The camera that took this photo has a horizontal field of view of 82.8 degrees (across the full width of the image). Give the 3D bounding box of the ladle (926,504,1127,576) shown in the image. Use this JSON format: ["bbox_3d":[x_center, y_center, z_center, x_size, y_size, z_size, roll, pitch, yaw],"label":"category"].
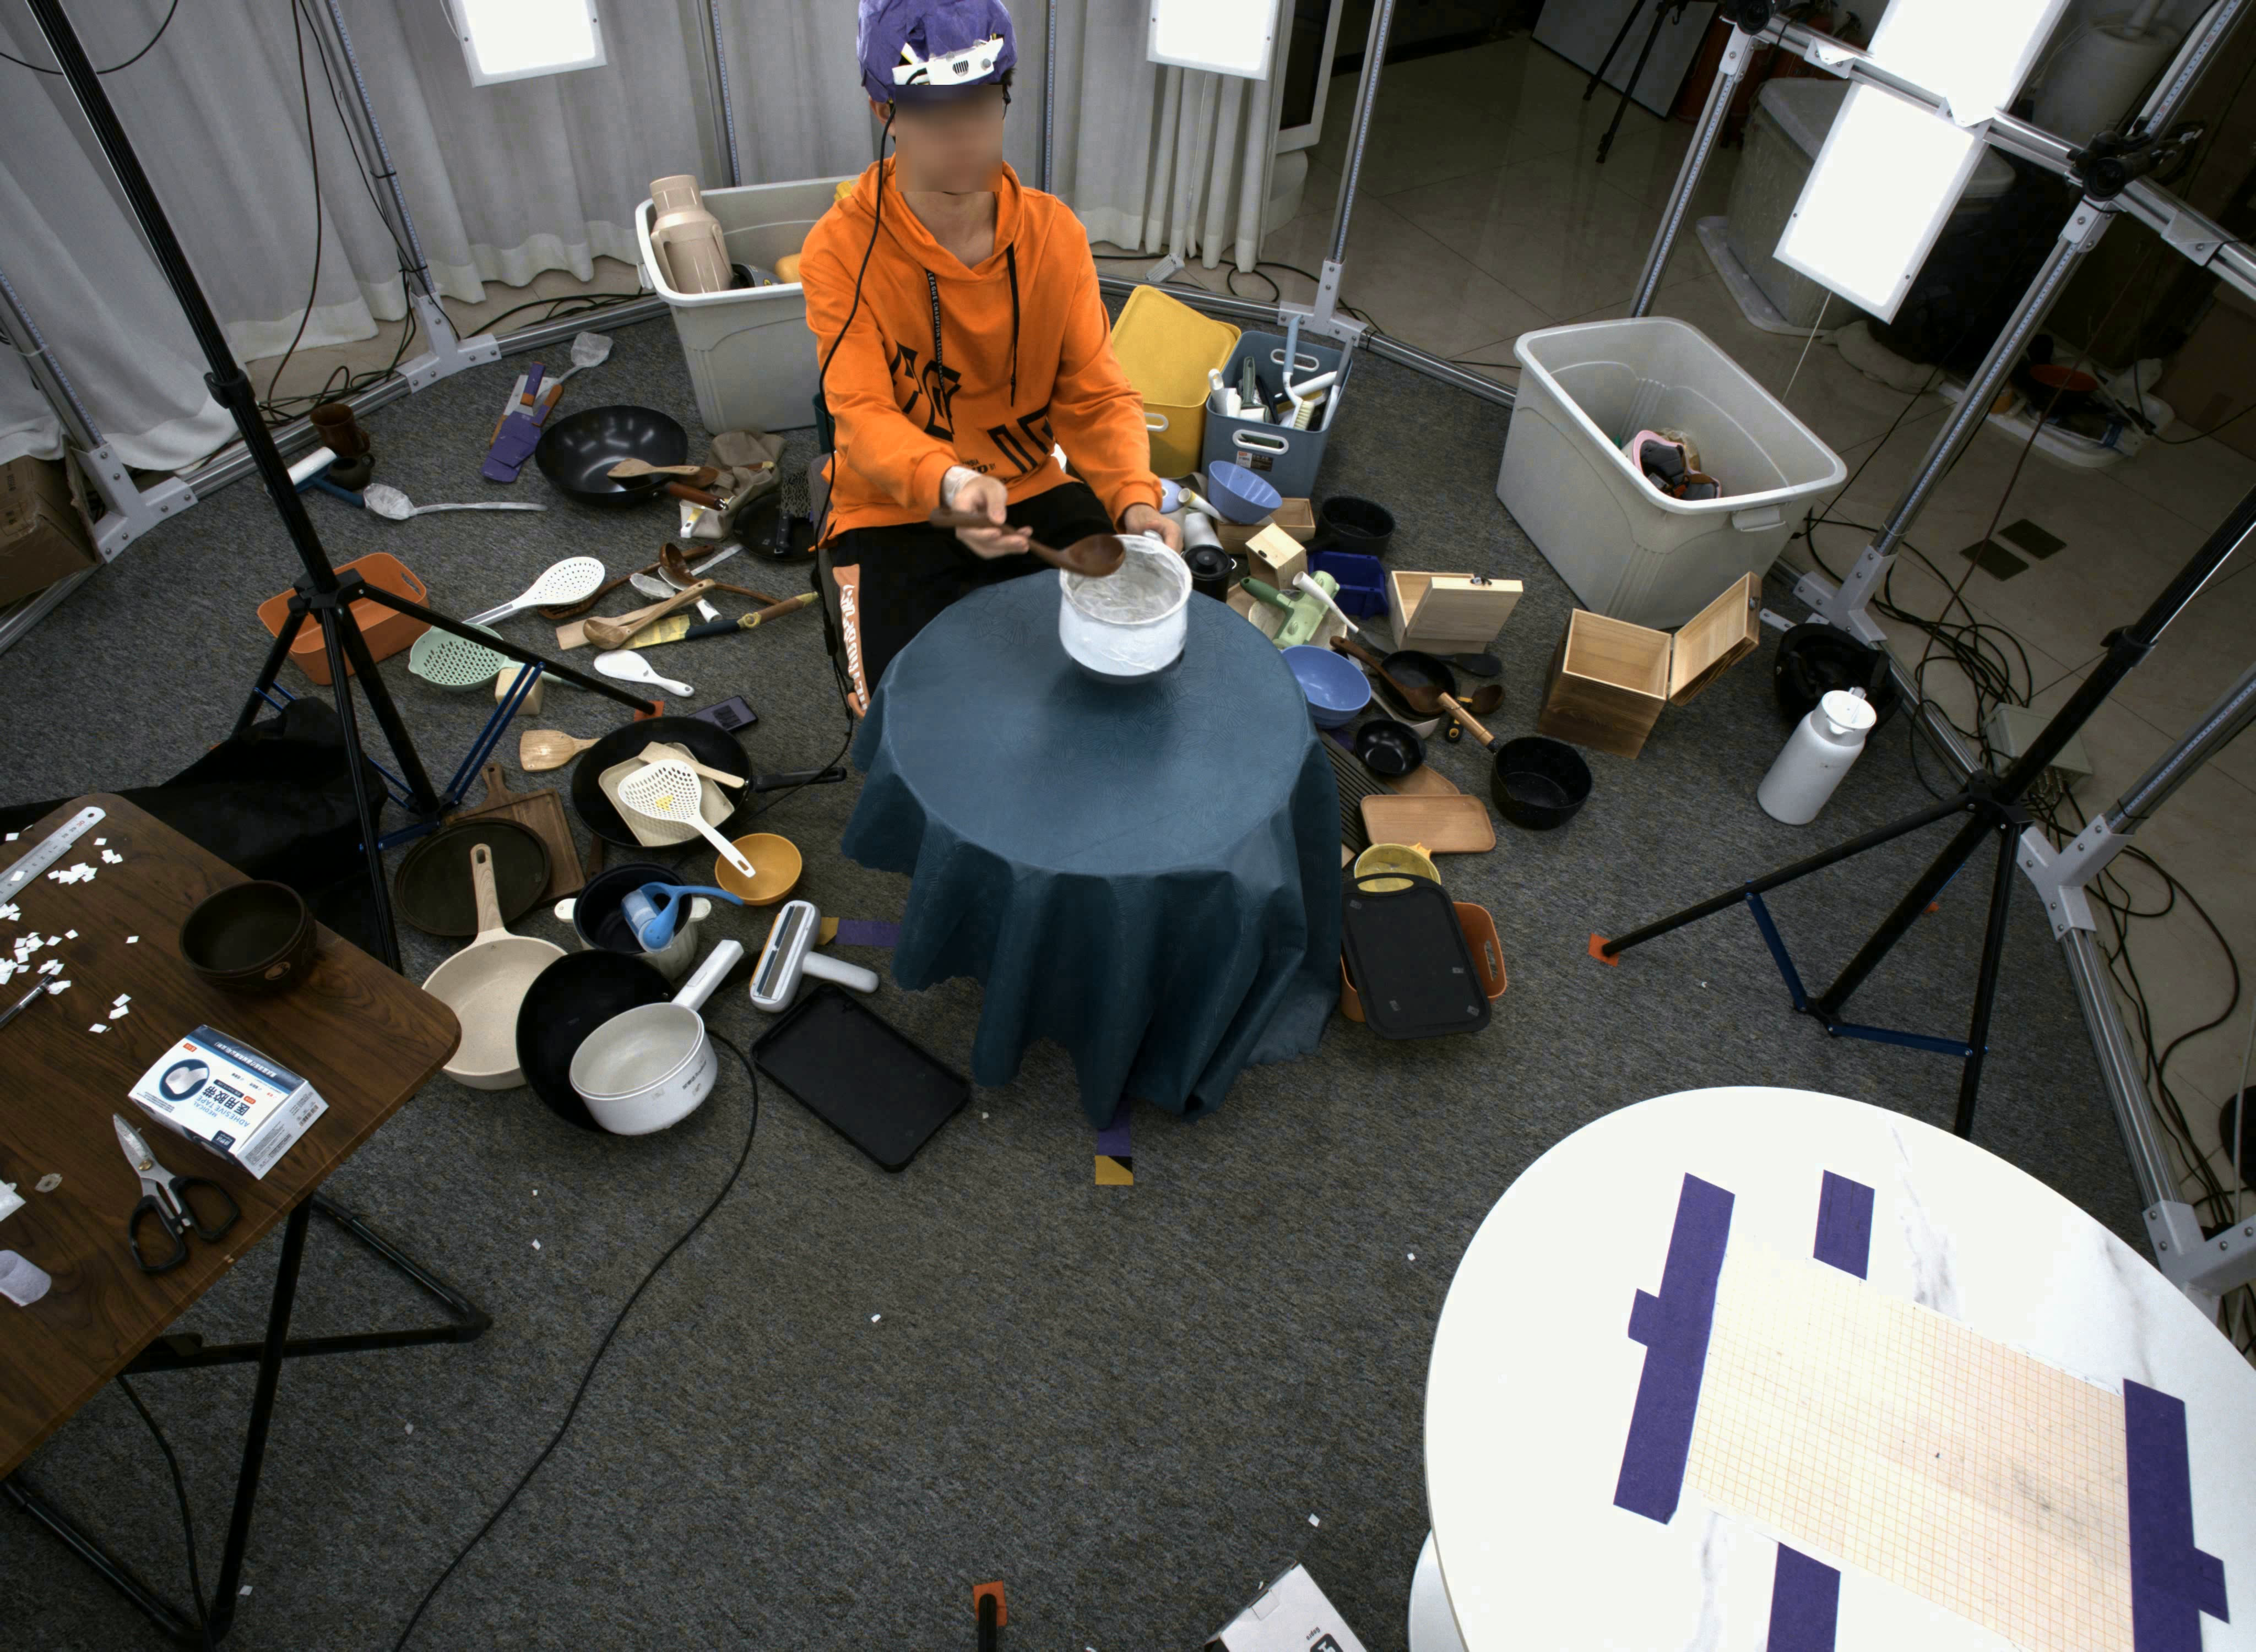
[{"bbox_3d":[-0.121,-0.370,1.603,0.257,0.064,0.078,15,31,-30],"label":"ladle"}]

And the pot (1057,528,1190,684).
[{"bbox_3d":[0.000,-0.315,1.781,0.179,0.133,0.238,16,53,9],"label":"pot"}]
